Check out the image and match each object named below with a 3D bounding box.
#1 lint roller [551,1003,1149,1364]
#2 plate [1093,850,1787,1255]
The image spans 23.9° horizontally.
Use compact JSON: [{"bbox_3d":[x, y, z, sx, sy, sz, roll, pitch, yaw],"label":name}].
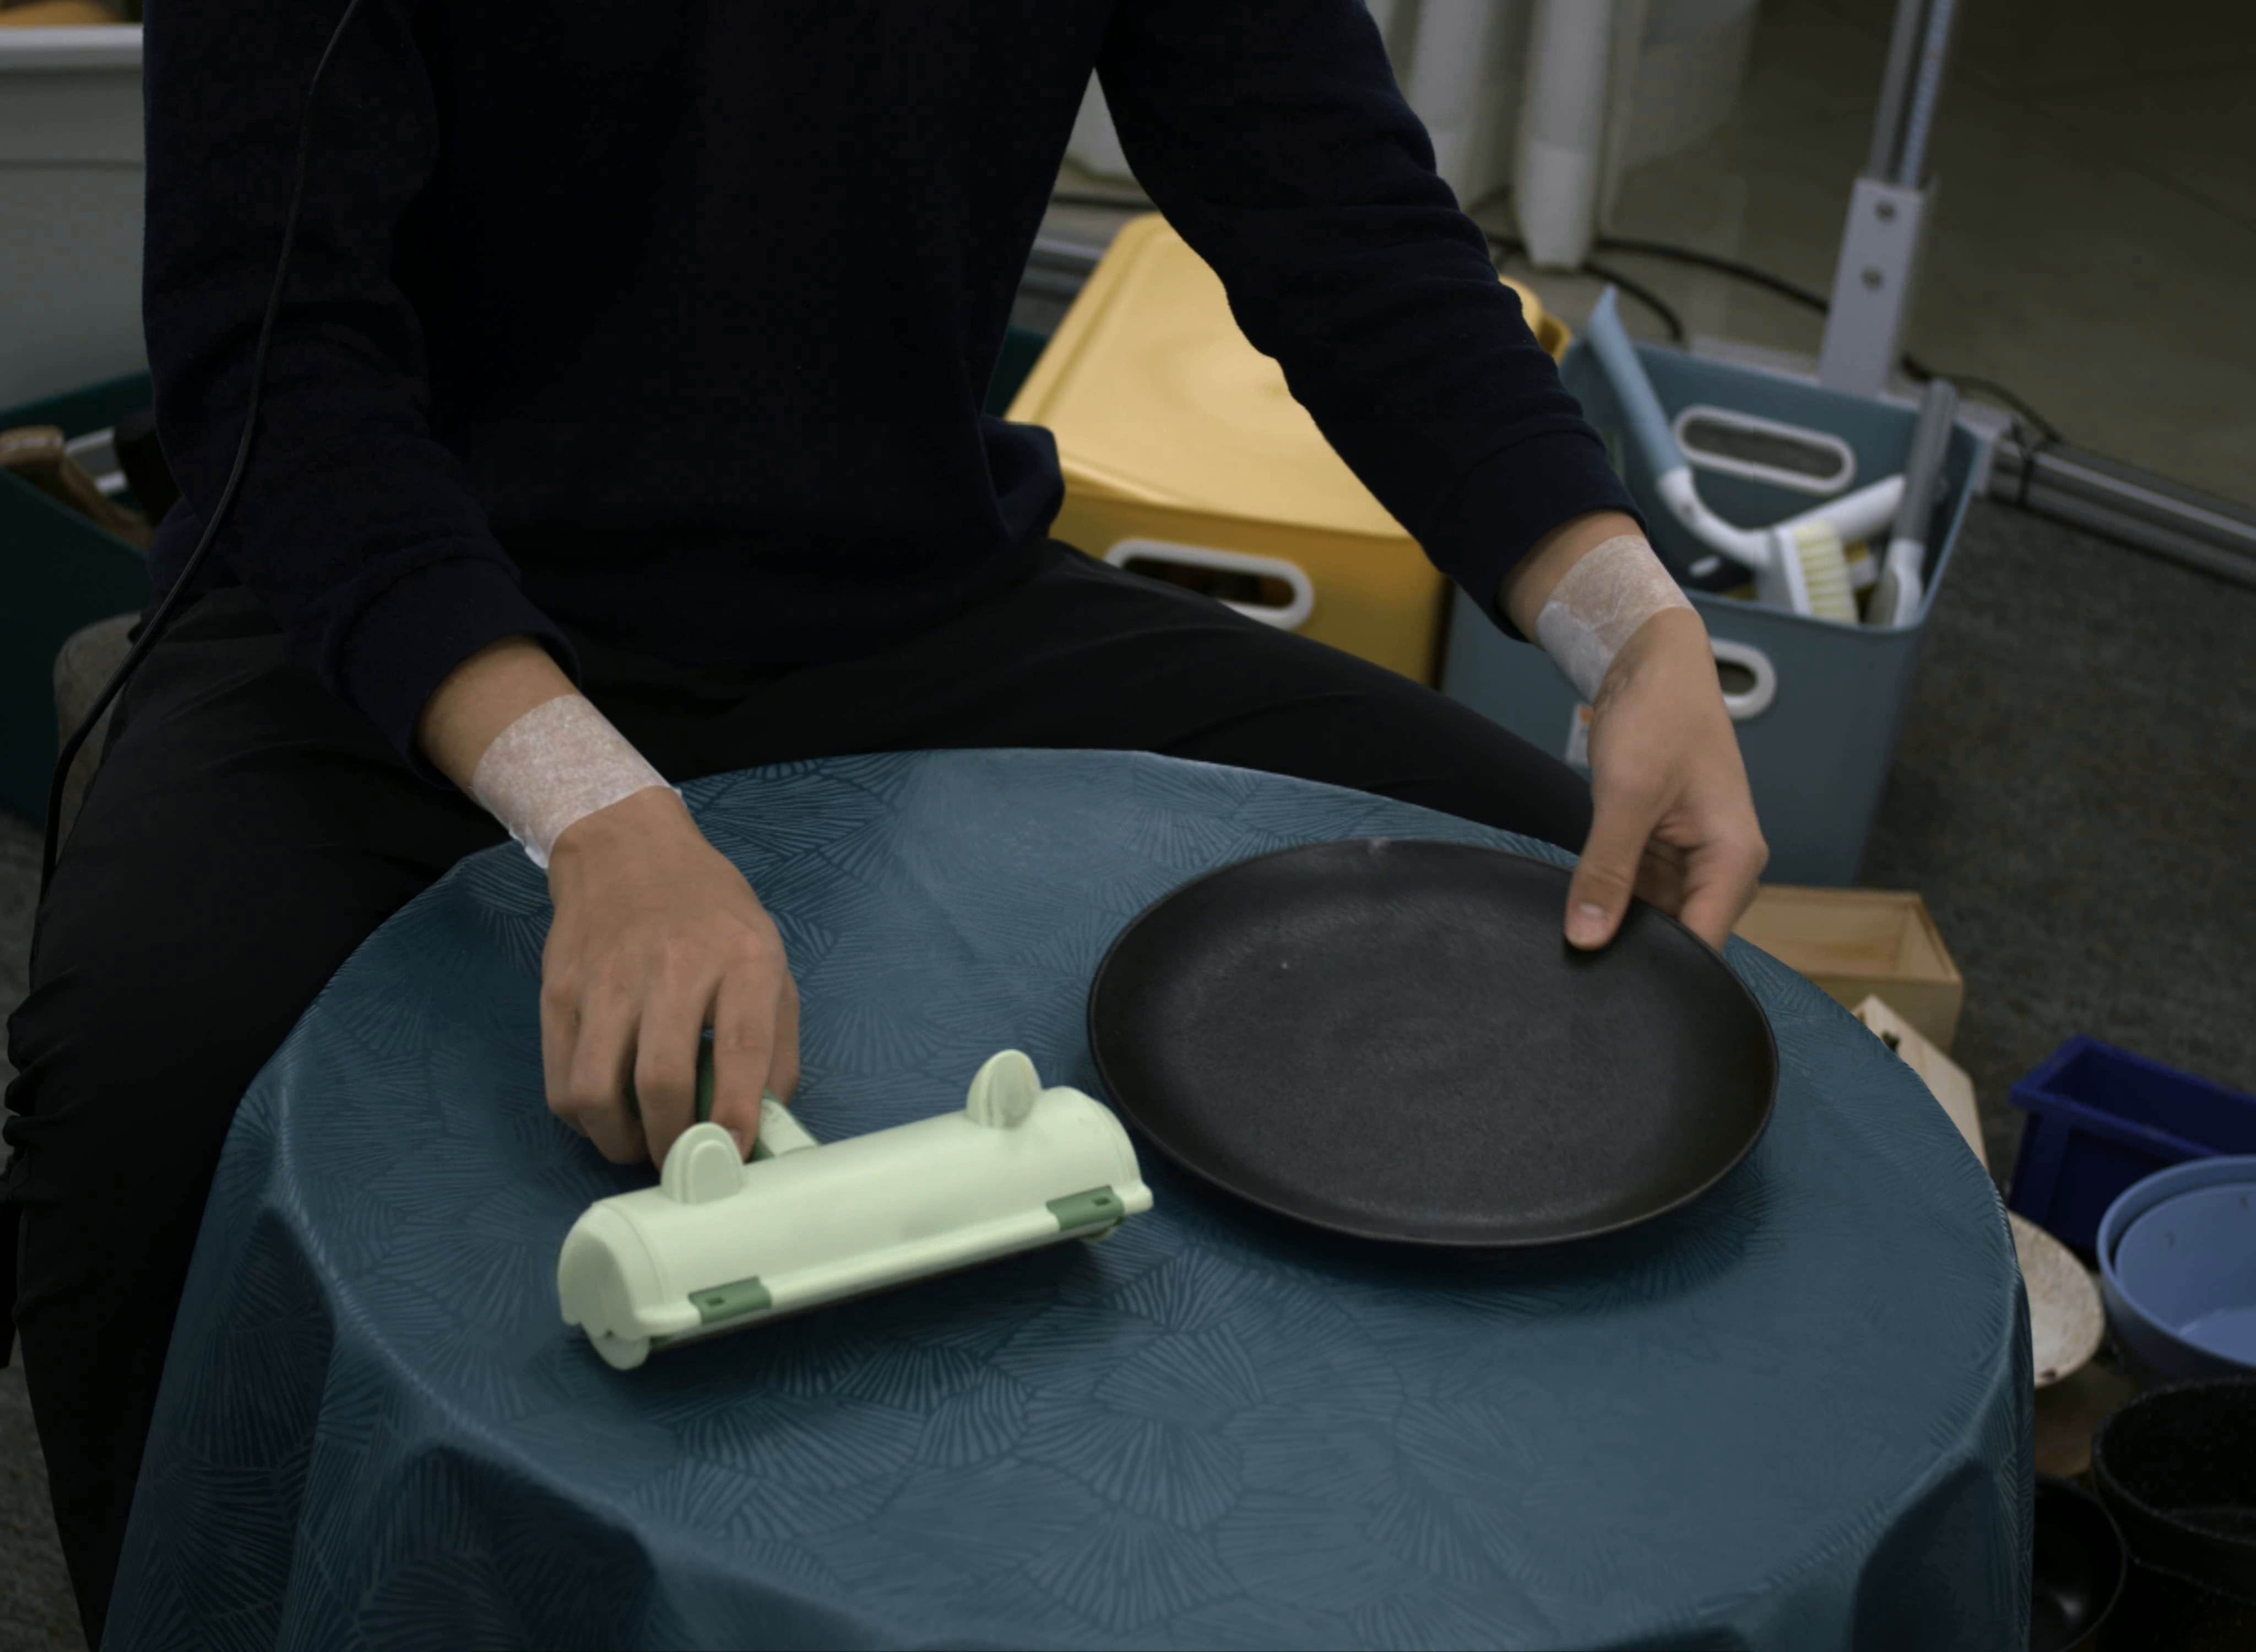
[{"bbox_3d":[-0.118,0.091,1.742,0.197,0.082,0.185,-12,40,-33],"label":"lint roller"},{"bbox_3d":[0.108,0.082,1.862,0.243,0.023,0.246,3,32,-2],"label":"plate"}]
